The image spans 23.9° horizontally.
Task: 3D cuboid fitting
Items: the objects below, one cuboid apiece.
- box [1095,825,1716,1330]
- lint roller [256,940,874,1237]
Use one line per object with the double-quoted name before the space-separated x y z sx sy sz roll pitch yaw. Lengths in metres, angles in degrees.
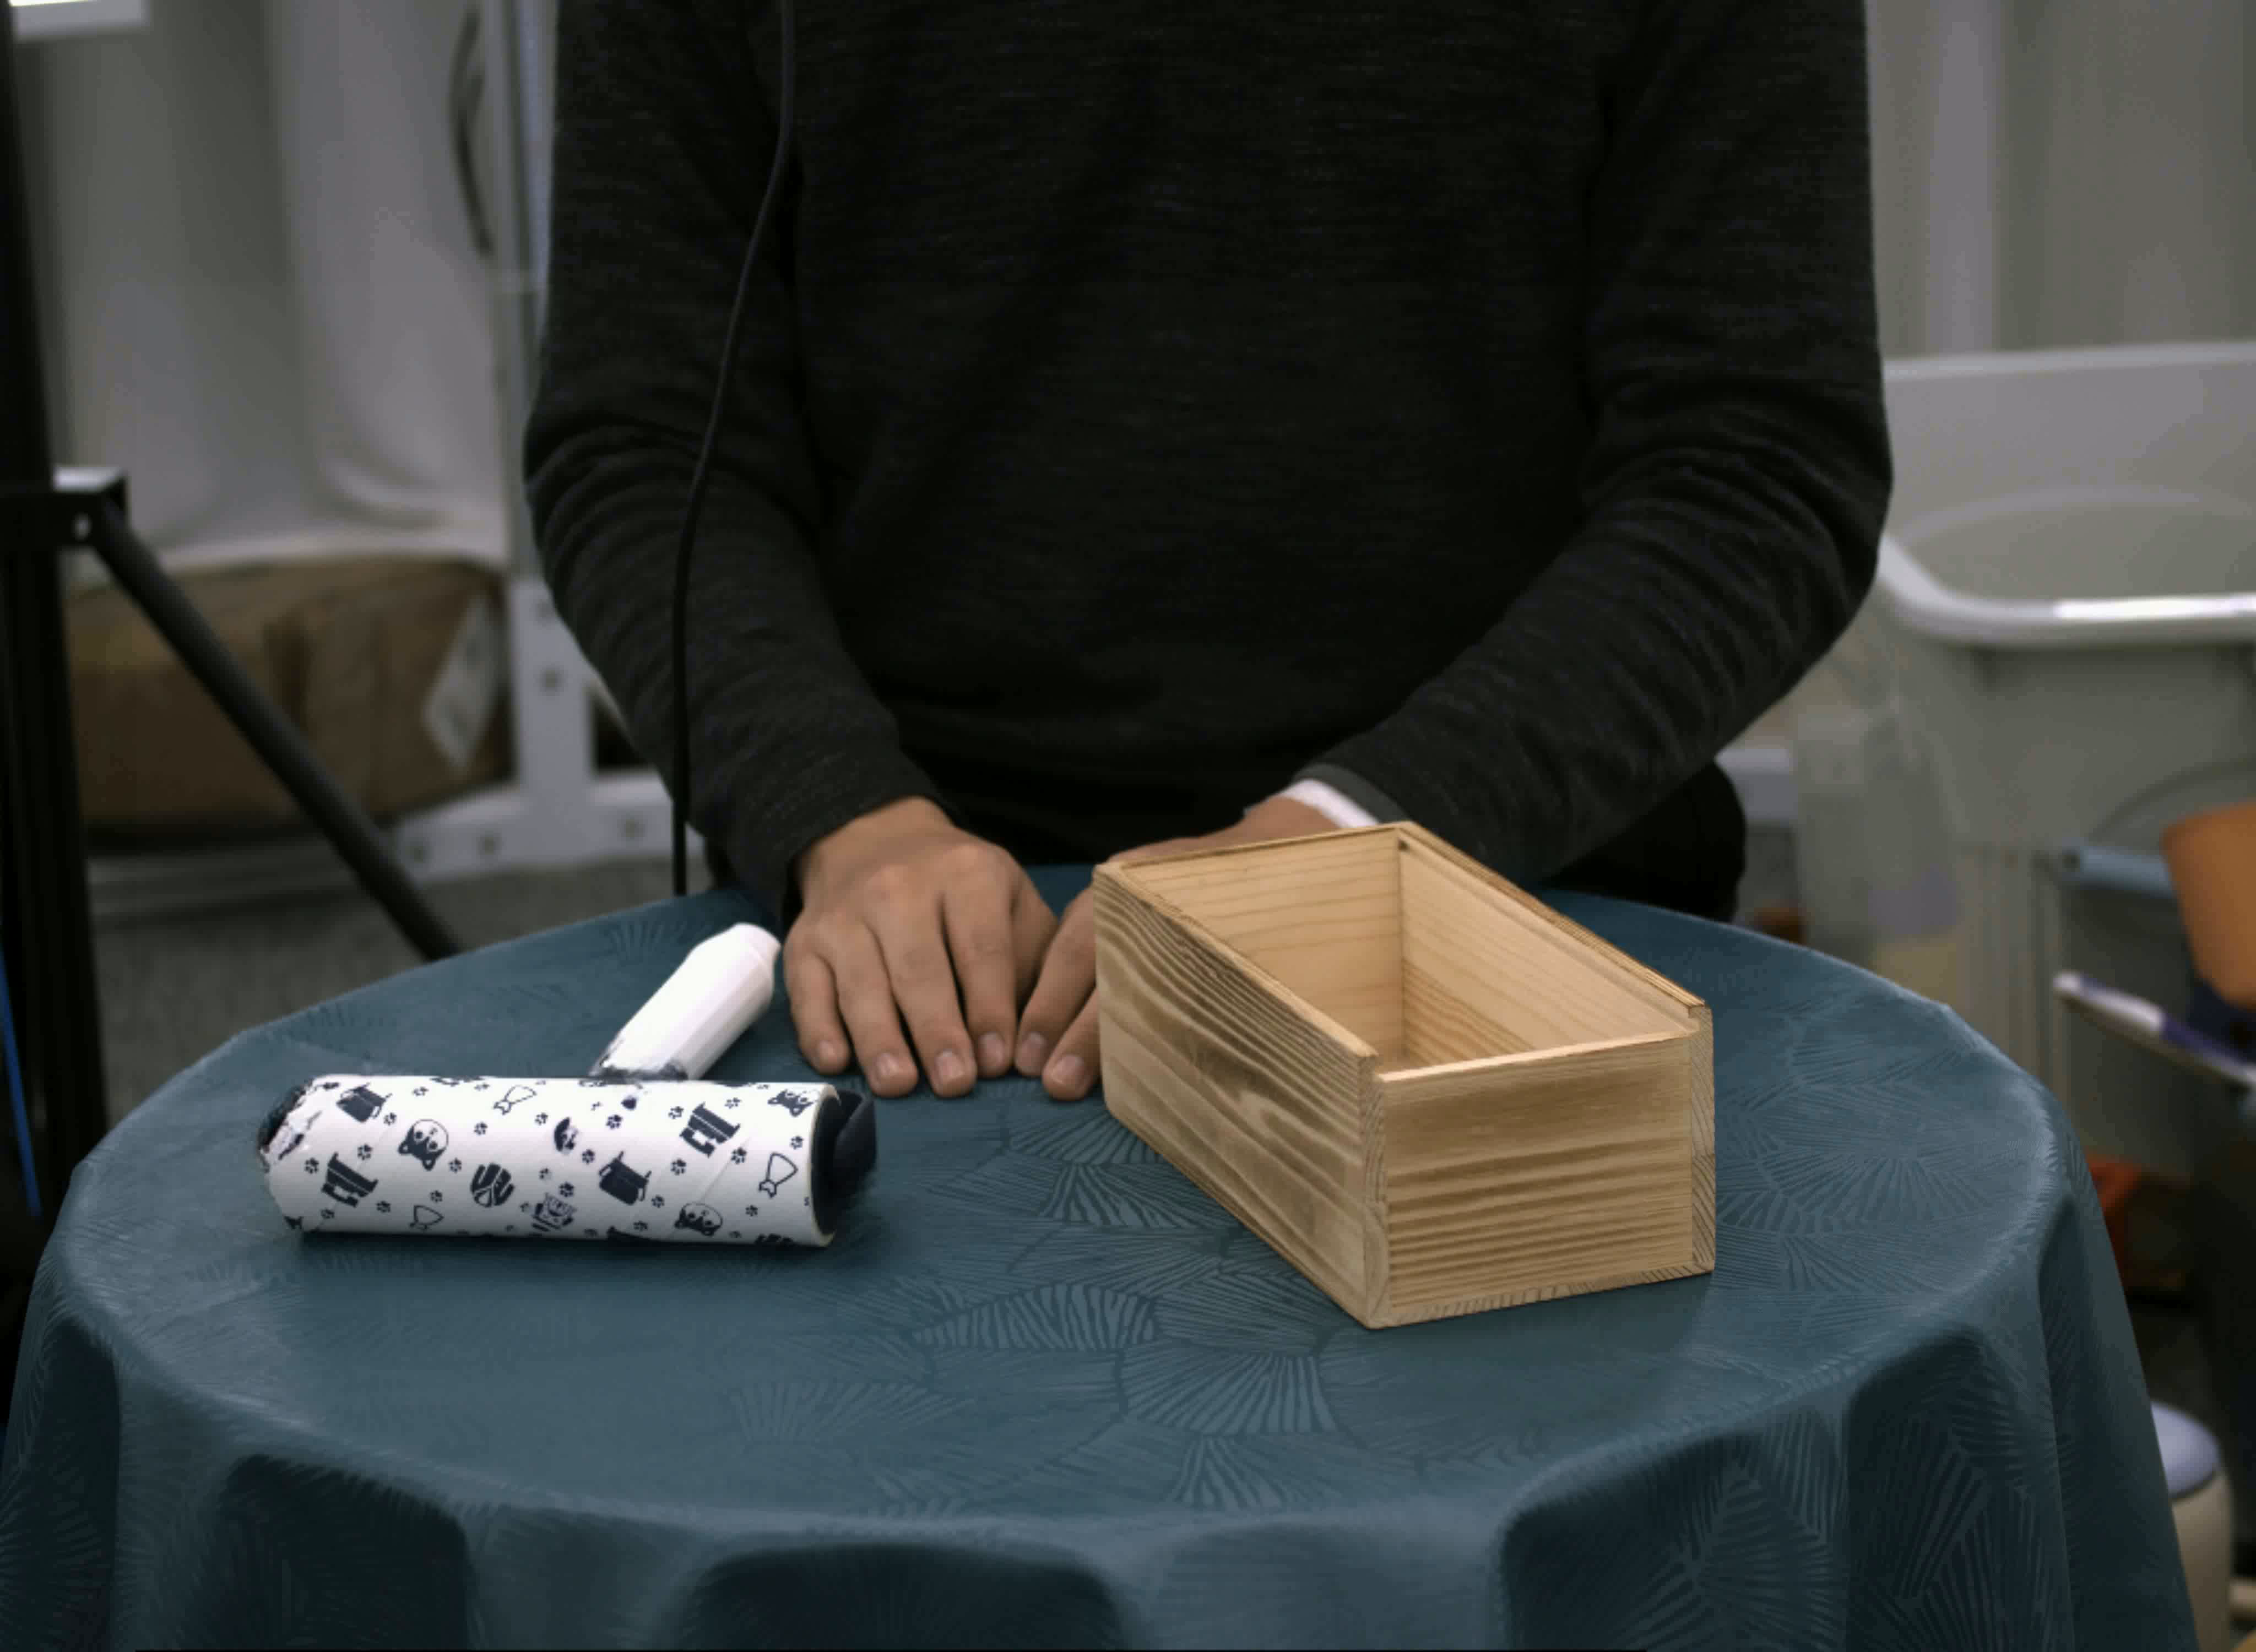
"box" 0.076 0.069 1.538 0.105 0.080 0.215 -7 16 -19
"lint roller" -0.148 0.070 1.637 0.177 0.050 0.246 0 15 11
